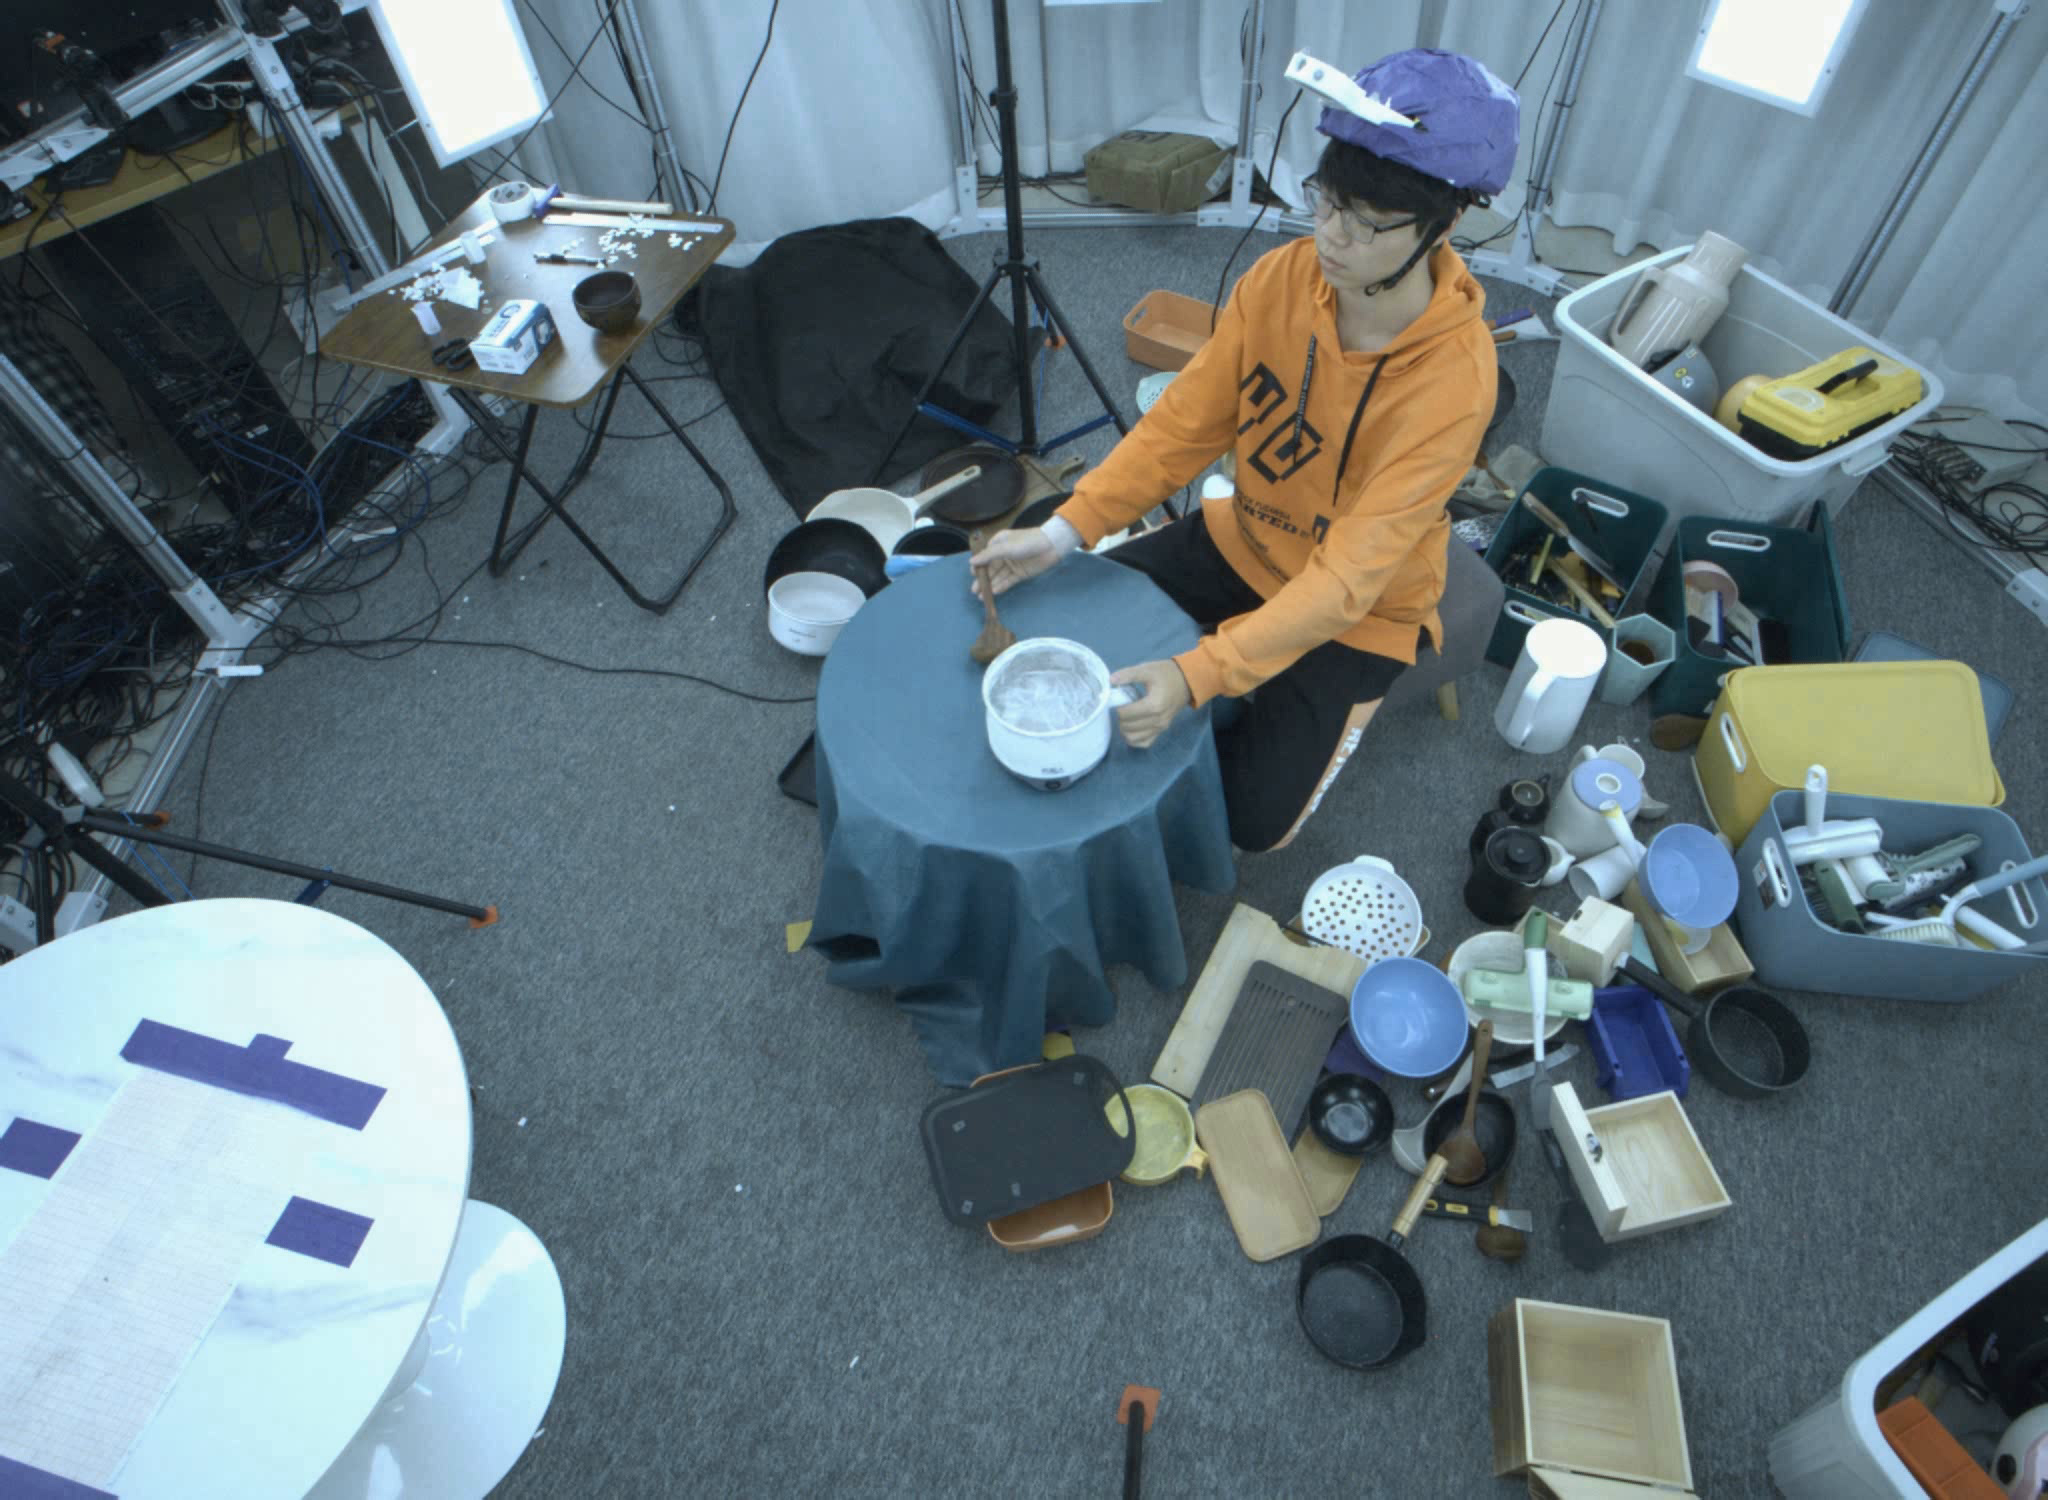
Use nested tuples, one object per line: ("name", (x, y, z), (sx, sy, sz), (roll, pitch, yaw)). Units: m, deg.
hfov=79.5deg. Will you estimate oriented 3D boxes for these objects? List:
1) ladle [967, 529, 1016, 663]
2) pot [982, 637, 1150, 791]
("ladle", (-0.064, -0.248, 1.906), (0.076, 0.066, 0.257), (-10, 68, 2))
("pot", (0.062, -0.053, 1.737), (0.234, 0.138, 0.176), (-5, 55, -1))
